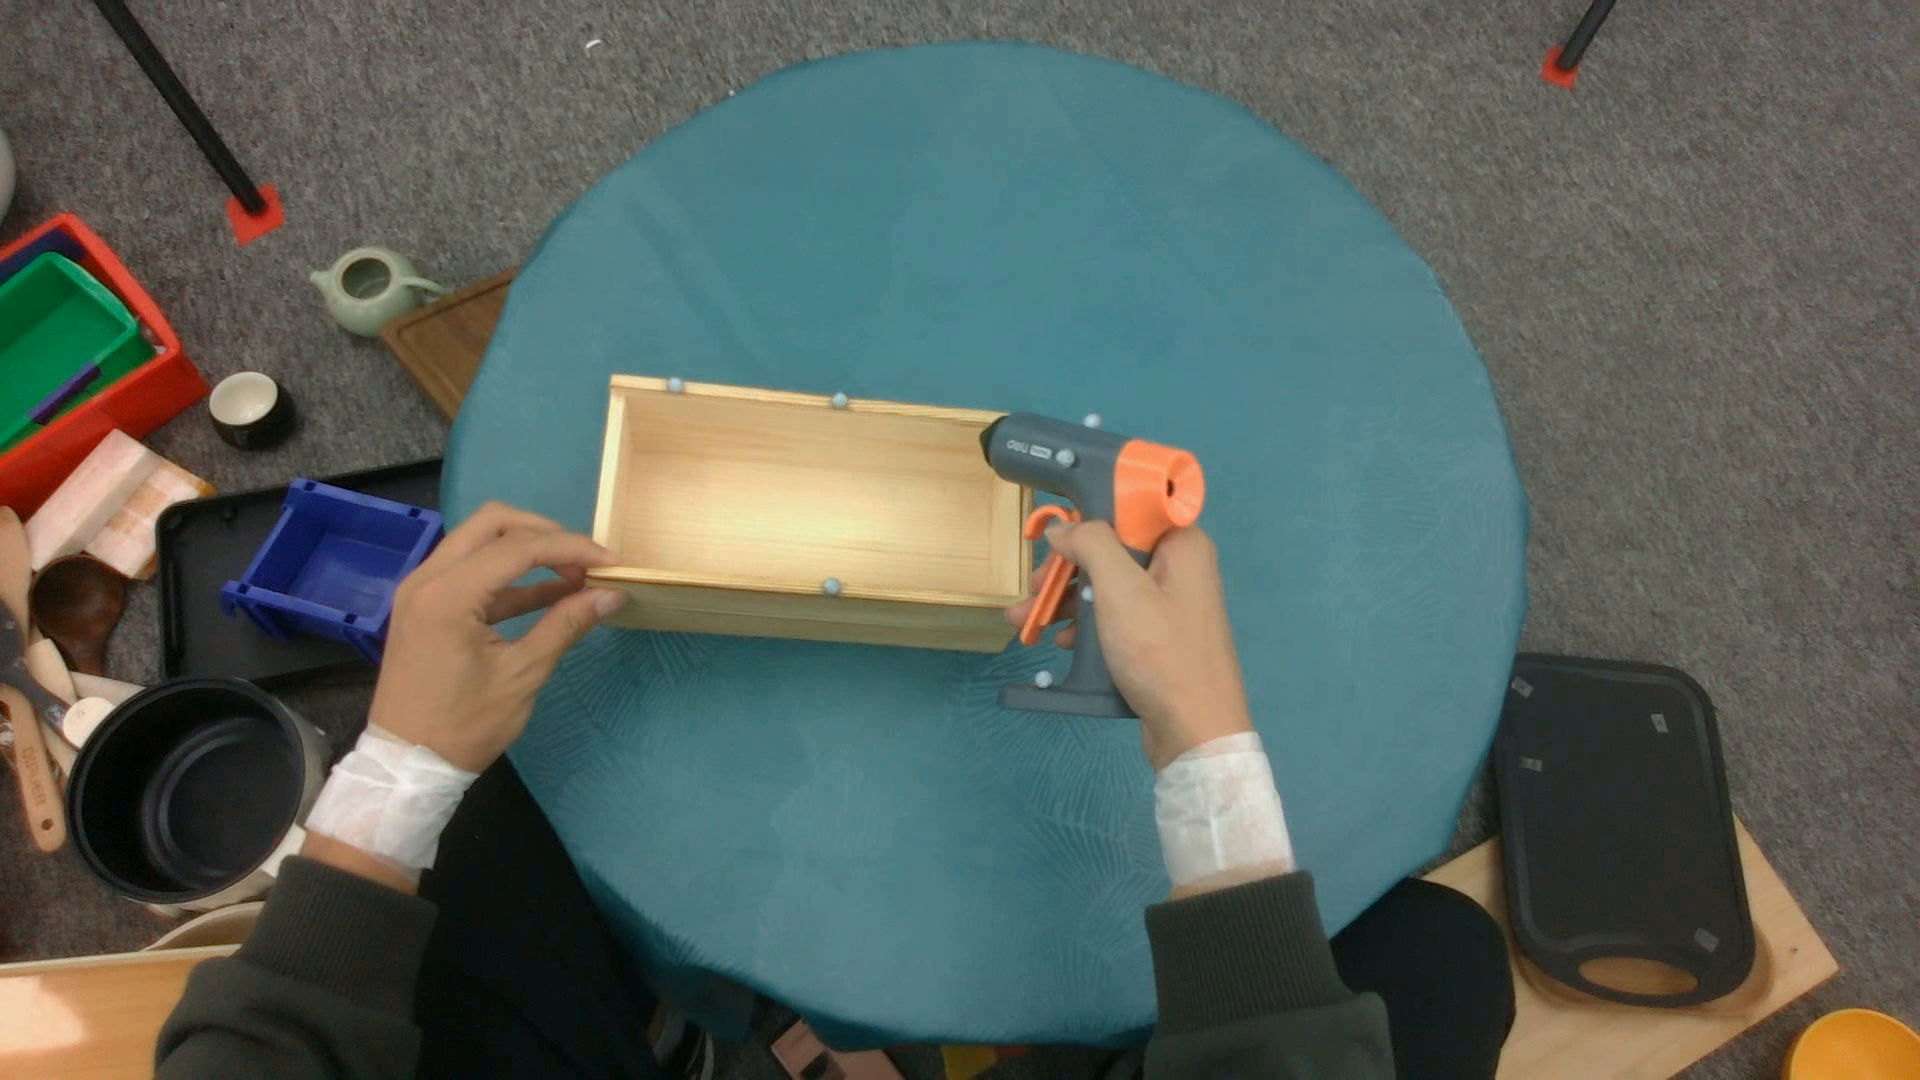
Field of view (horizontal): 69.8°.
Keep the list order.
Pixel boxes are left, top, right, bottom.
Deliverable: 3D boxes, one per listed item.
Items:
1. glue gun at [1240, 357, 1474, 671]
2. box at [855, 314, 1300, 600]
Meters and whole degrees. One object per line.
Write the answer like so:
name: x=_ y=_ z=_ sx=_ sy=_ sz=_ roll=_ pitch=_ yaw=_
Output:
glue gun: x=0.166 y=-0.015 z=0.610 sx=0.041 sy=0.117 sz=0.140 roll=7 pitch=86 yaw=-35
box: x=0.059 y=-0.040 z=0.709 sx=0.211 sy=0.080 sz=0.108 roll=6 pitch=73 yaw=1
